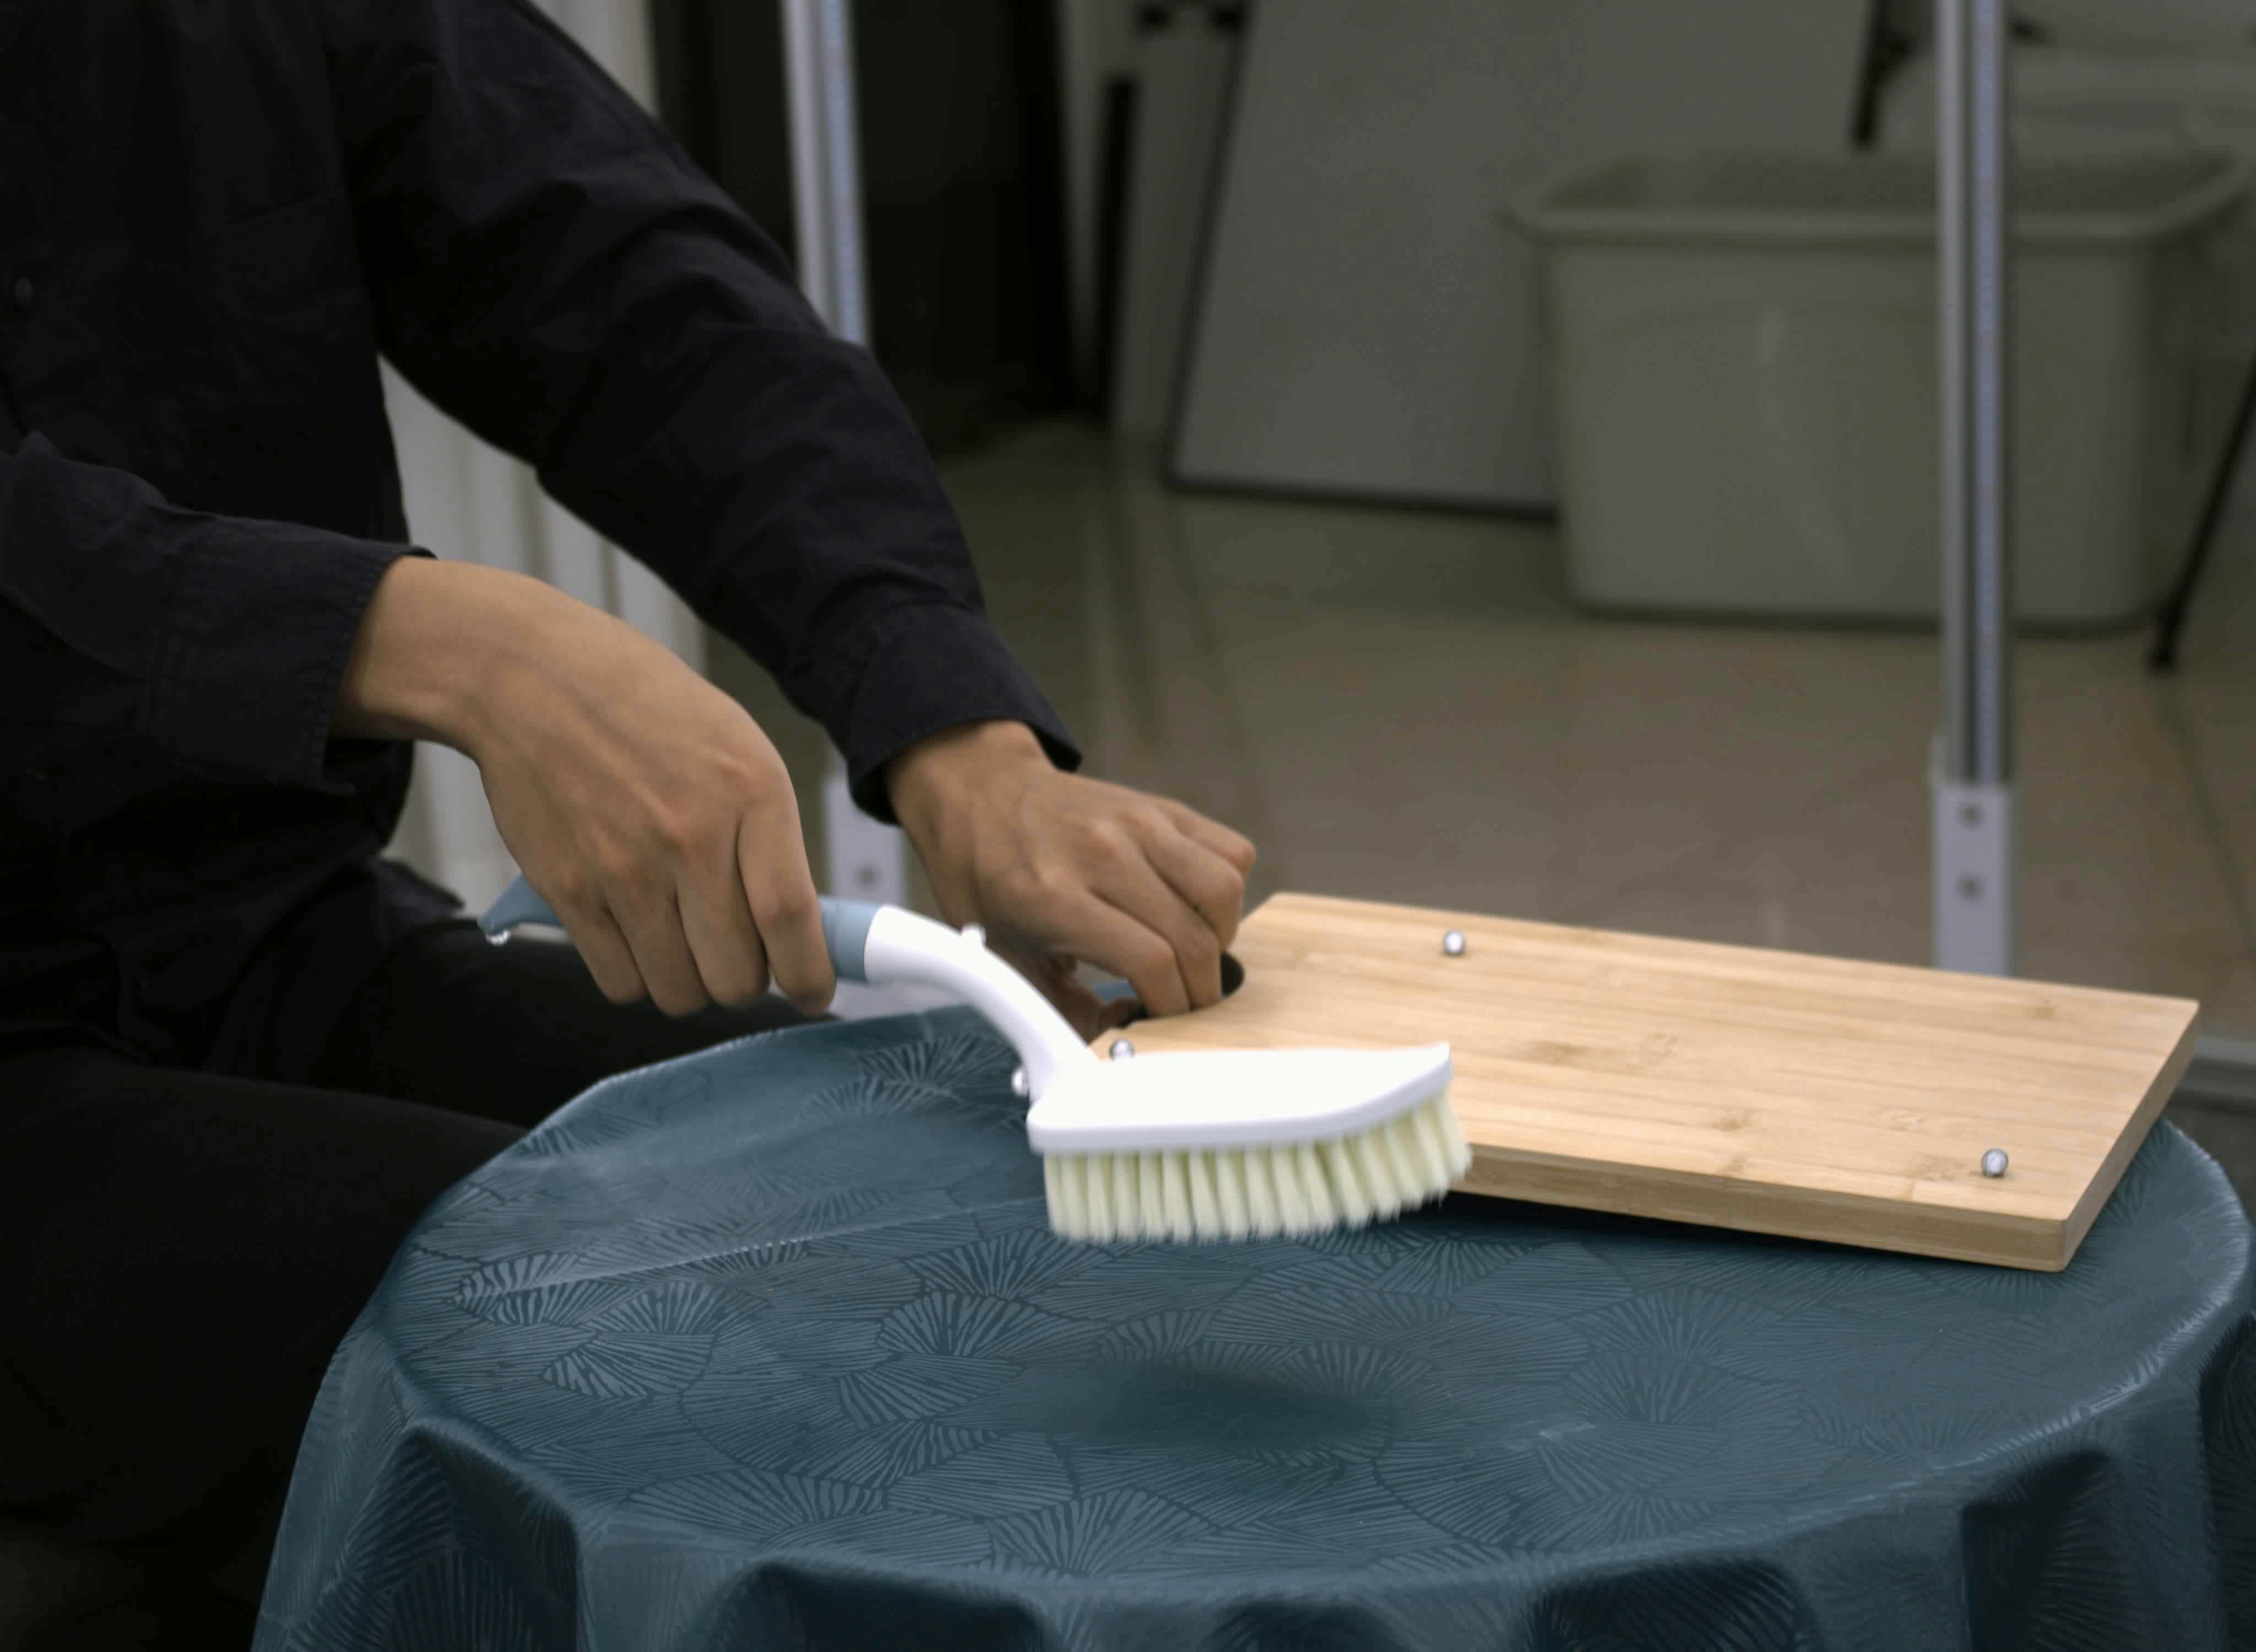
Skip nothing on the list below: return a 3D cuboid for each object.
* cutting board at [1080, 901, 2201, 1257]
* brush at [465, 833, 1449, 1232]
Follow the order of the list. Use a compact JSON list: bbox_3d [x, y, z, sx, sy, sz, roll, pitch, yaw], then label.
[{"bbox_3d":[0.170,0.081,1.809,0.348,0.024,0.248,5,15,19],"label":"cutting board"},{"bbox_3d":[-0.056,0.075,1.617,0.326,0.085,0.082,10,-19,24],"label":"brush"}]
